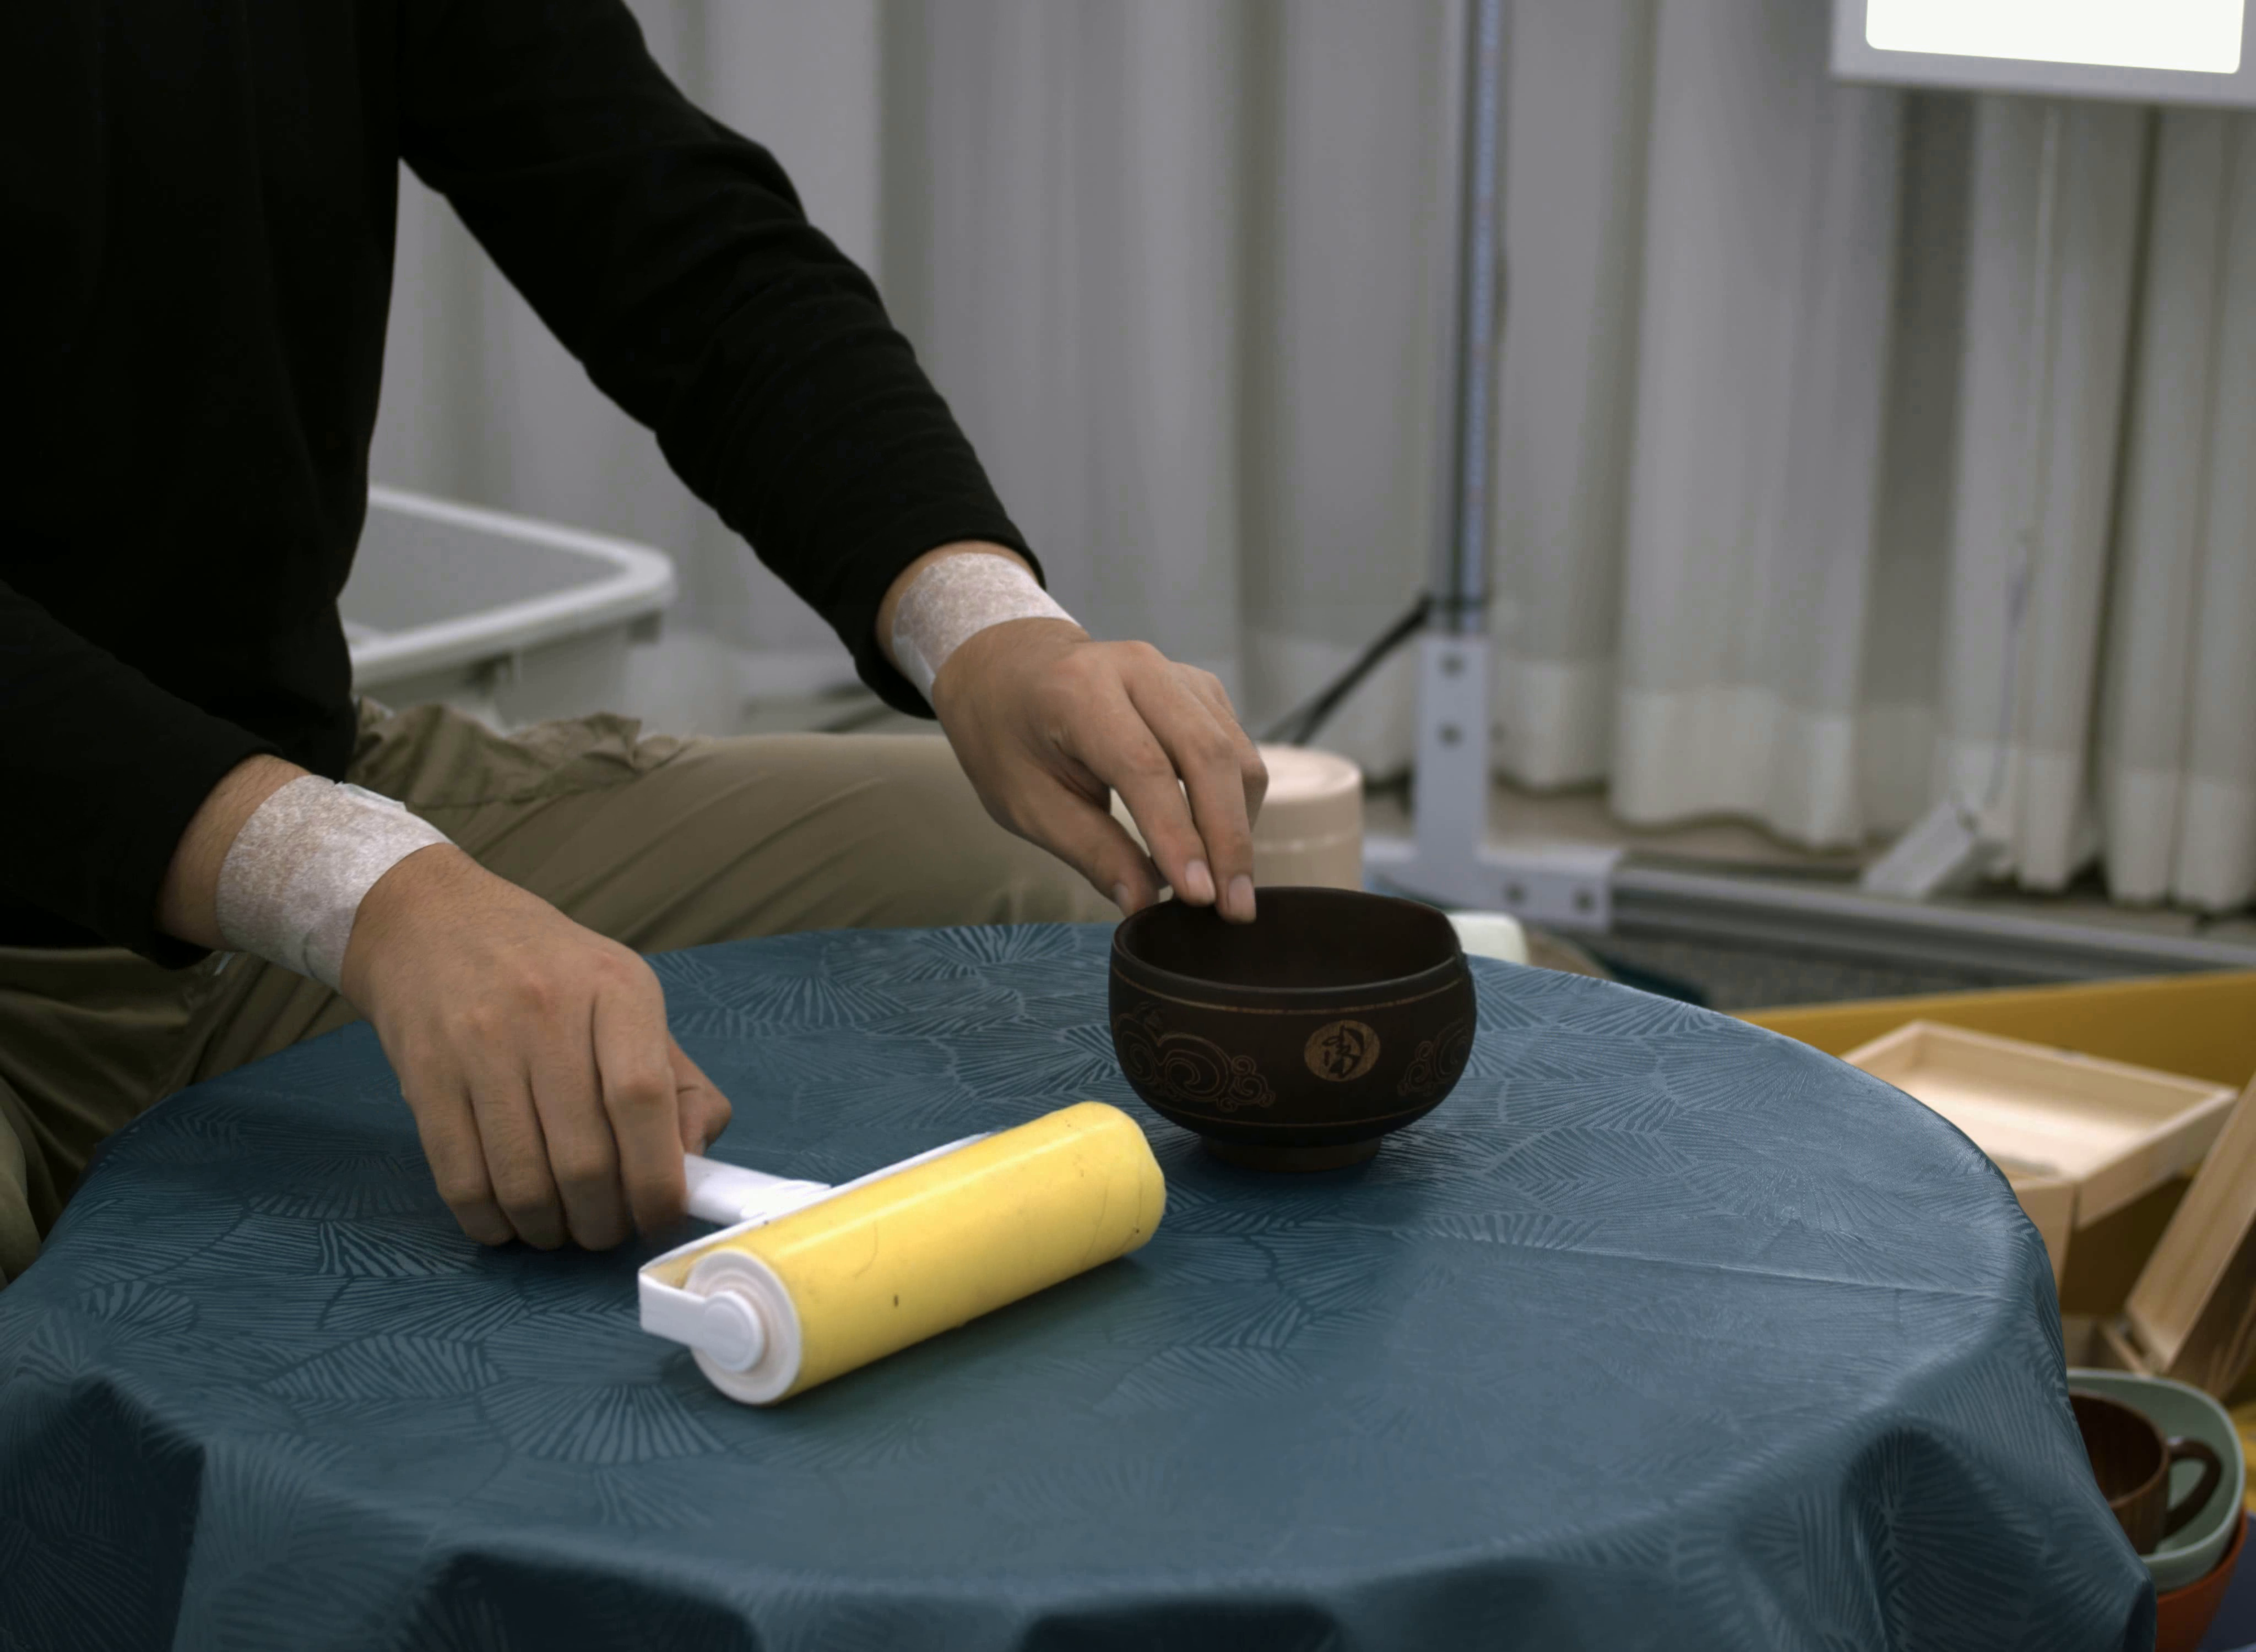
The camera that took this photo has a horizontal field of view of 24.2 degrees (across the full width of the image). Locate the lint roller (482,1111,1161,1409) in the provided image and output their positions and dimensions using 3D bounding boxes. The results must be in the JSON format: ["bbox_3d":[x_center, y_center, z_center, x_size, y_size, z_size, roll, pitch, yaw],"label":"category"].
[{"bbox_3d":[-0.114,0.103,1.538,0.189,0.052,0.175,21,24,32],"label":"lint roller"}]

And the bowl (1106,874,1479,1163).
[{"bbox_3d":[0.051,0.064,1.655,0.117,0.070,0.117,2,16,0],"label":"bowl"}]
